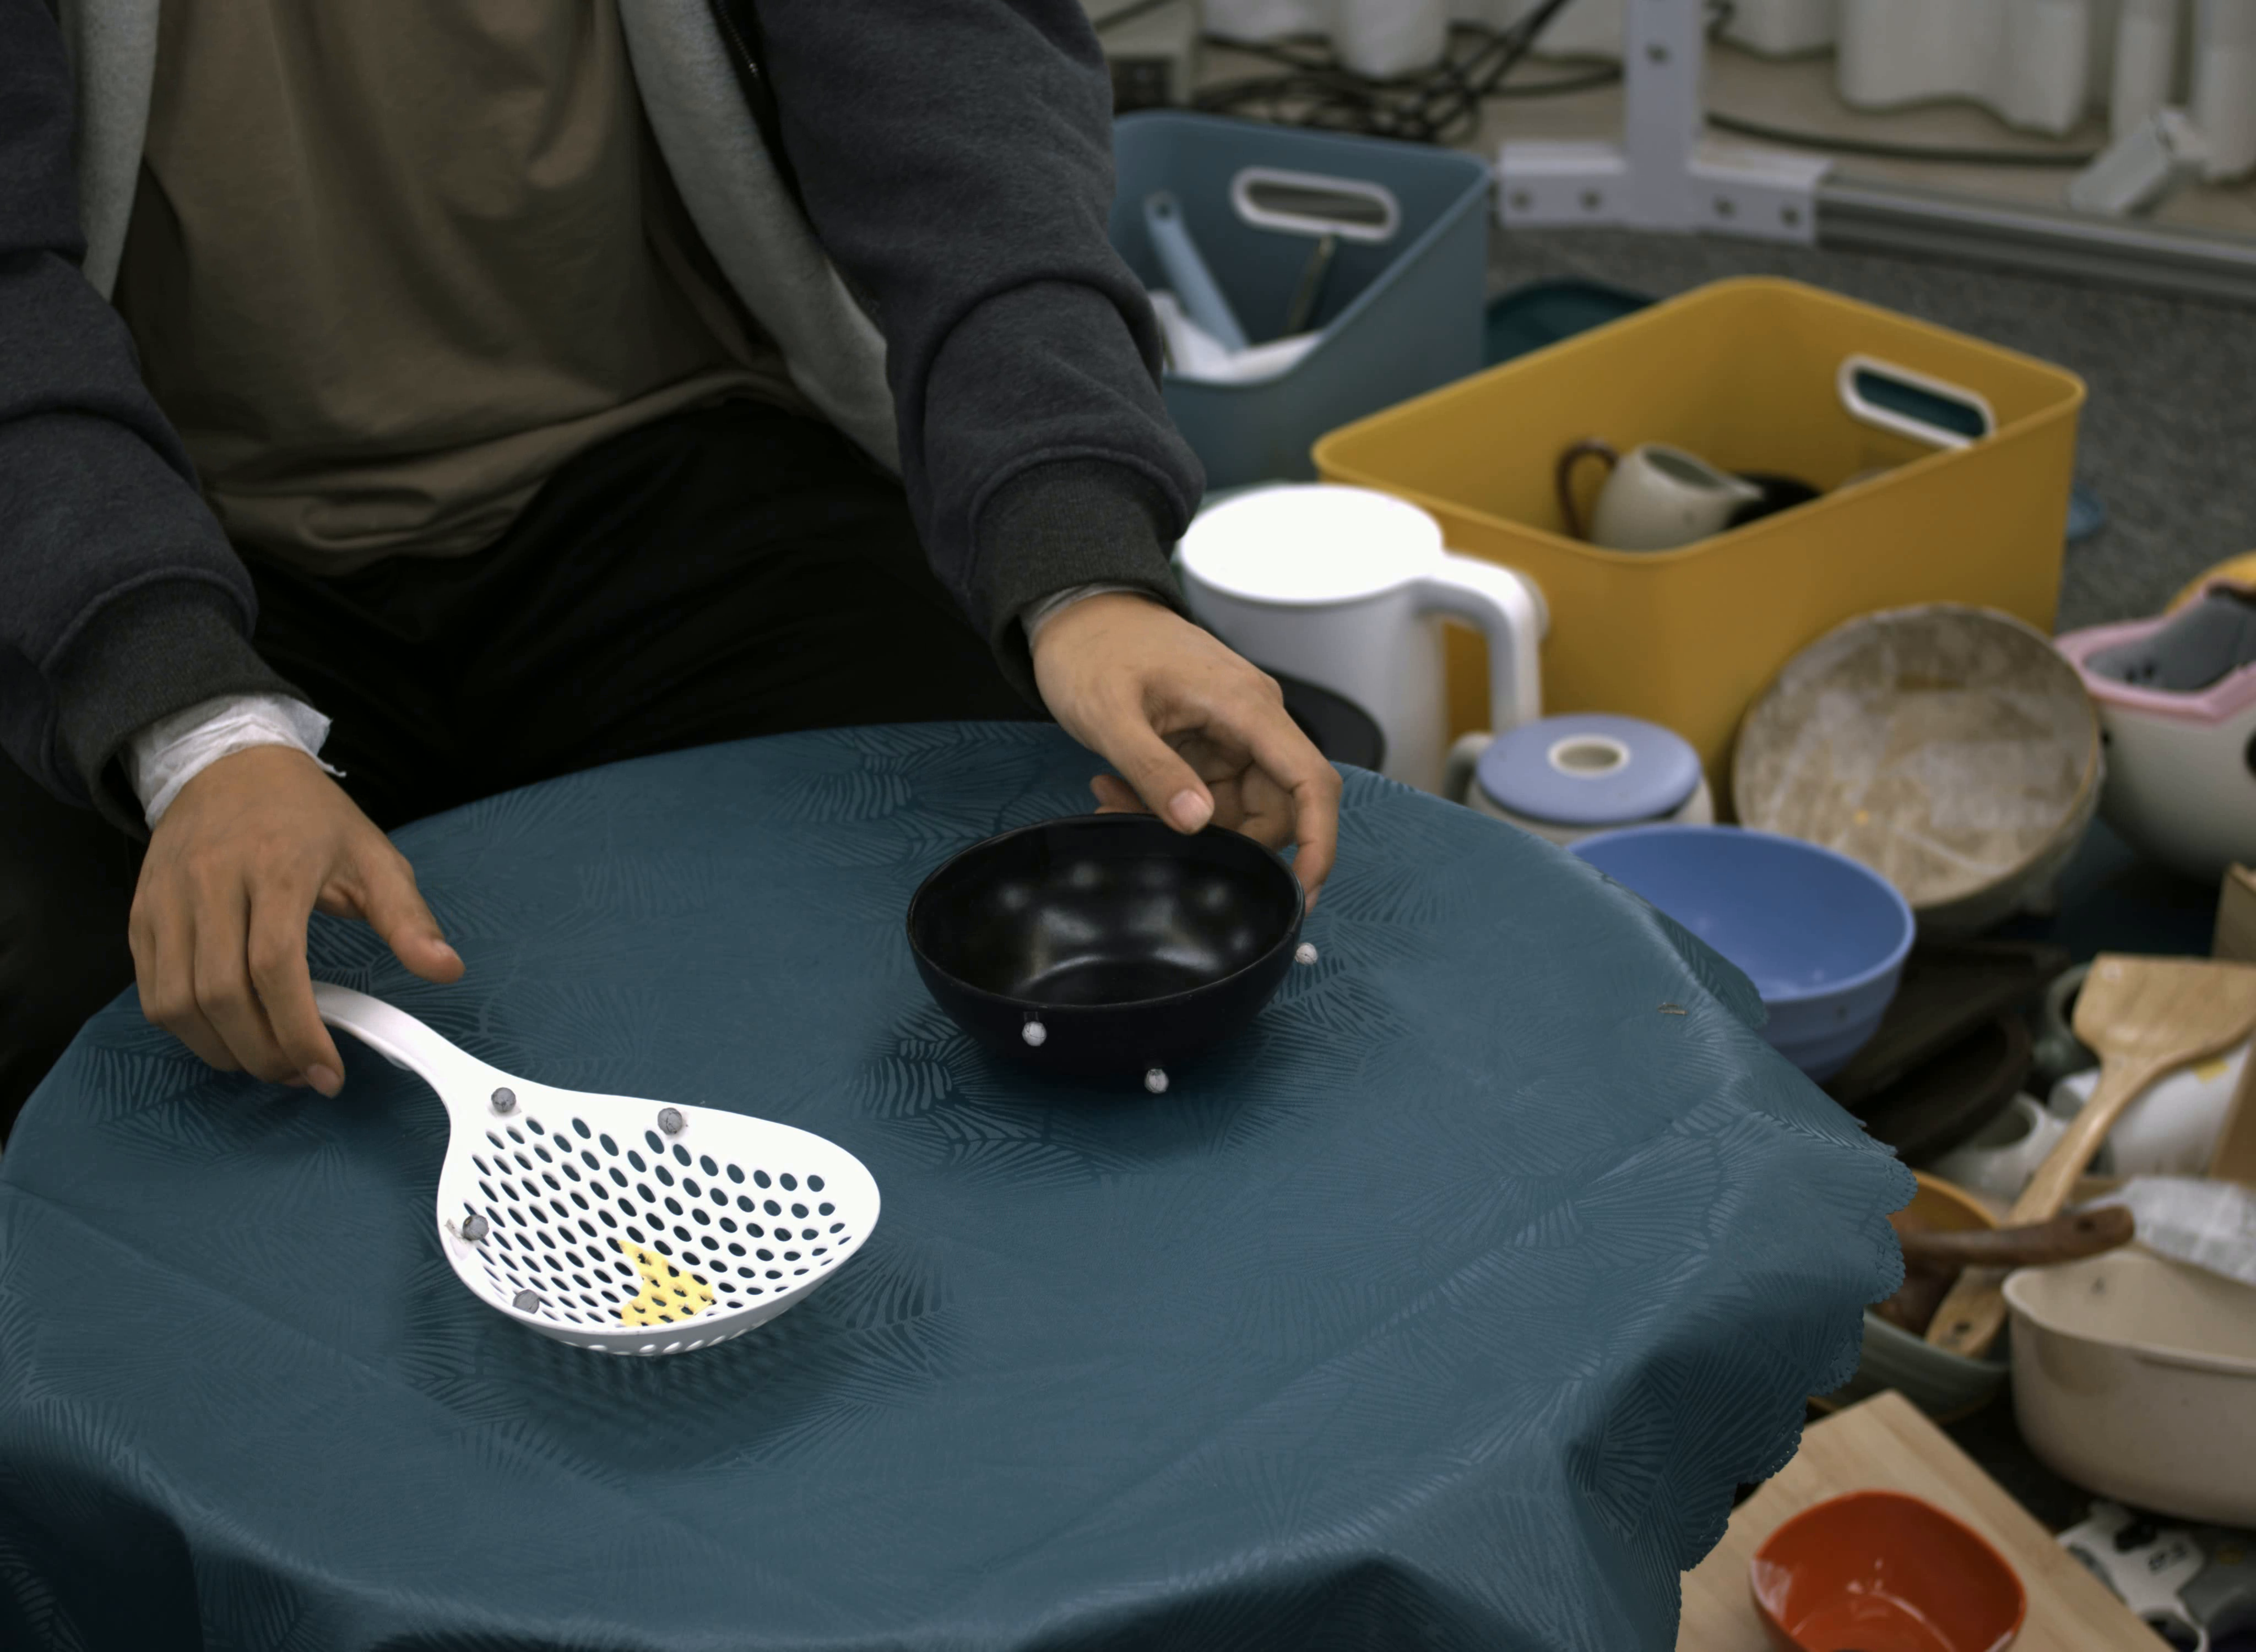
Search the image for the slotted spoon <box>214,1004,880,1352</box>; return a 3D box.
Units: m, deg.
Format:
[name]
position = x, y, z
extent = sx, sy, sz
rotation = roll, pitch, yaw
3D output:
[slotted spoon]
position = -0.212, 0.103, 1.877
extent = 0.138, 0.050, 0.348
rotation = -25, 34, -30
